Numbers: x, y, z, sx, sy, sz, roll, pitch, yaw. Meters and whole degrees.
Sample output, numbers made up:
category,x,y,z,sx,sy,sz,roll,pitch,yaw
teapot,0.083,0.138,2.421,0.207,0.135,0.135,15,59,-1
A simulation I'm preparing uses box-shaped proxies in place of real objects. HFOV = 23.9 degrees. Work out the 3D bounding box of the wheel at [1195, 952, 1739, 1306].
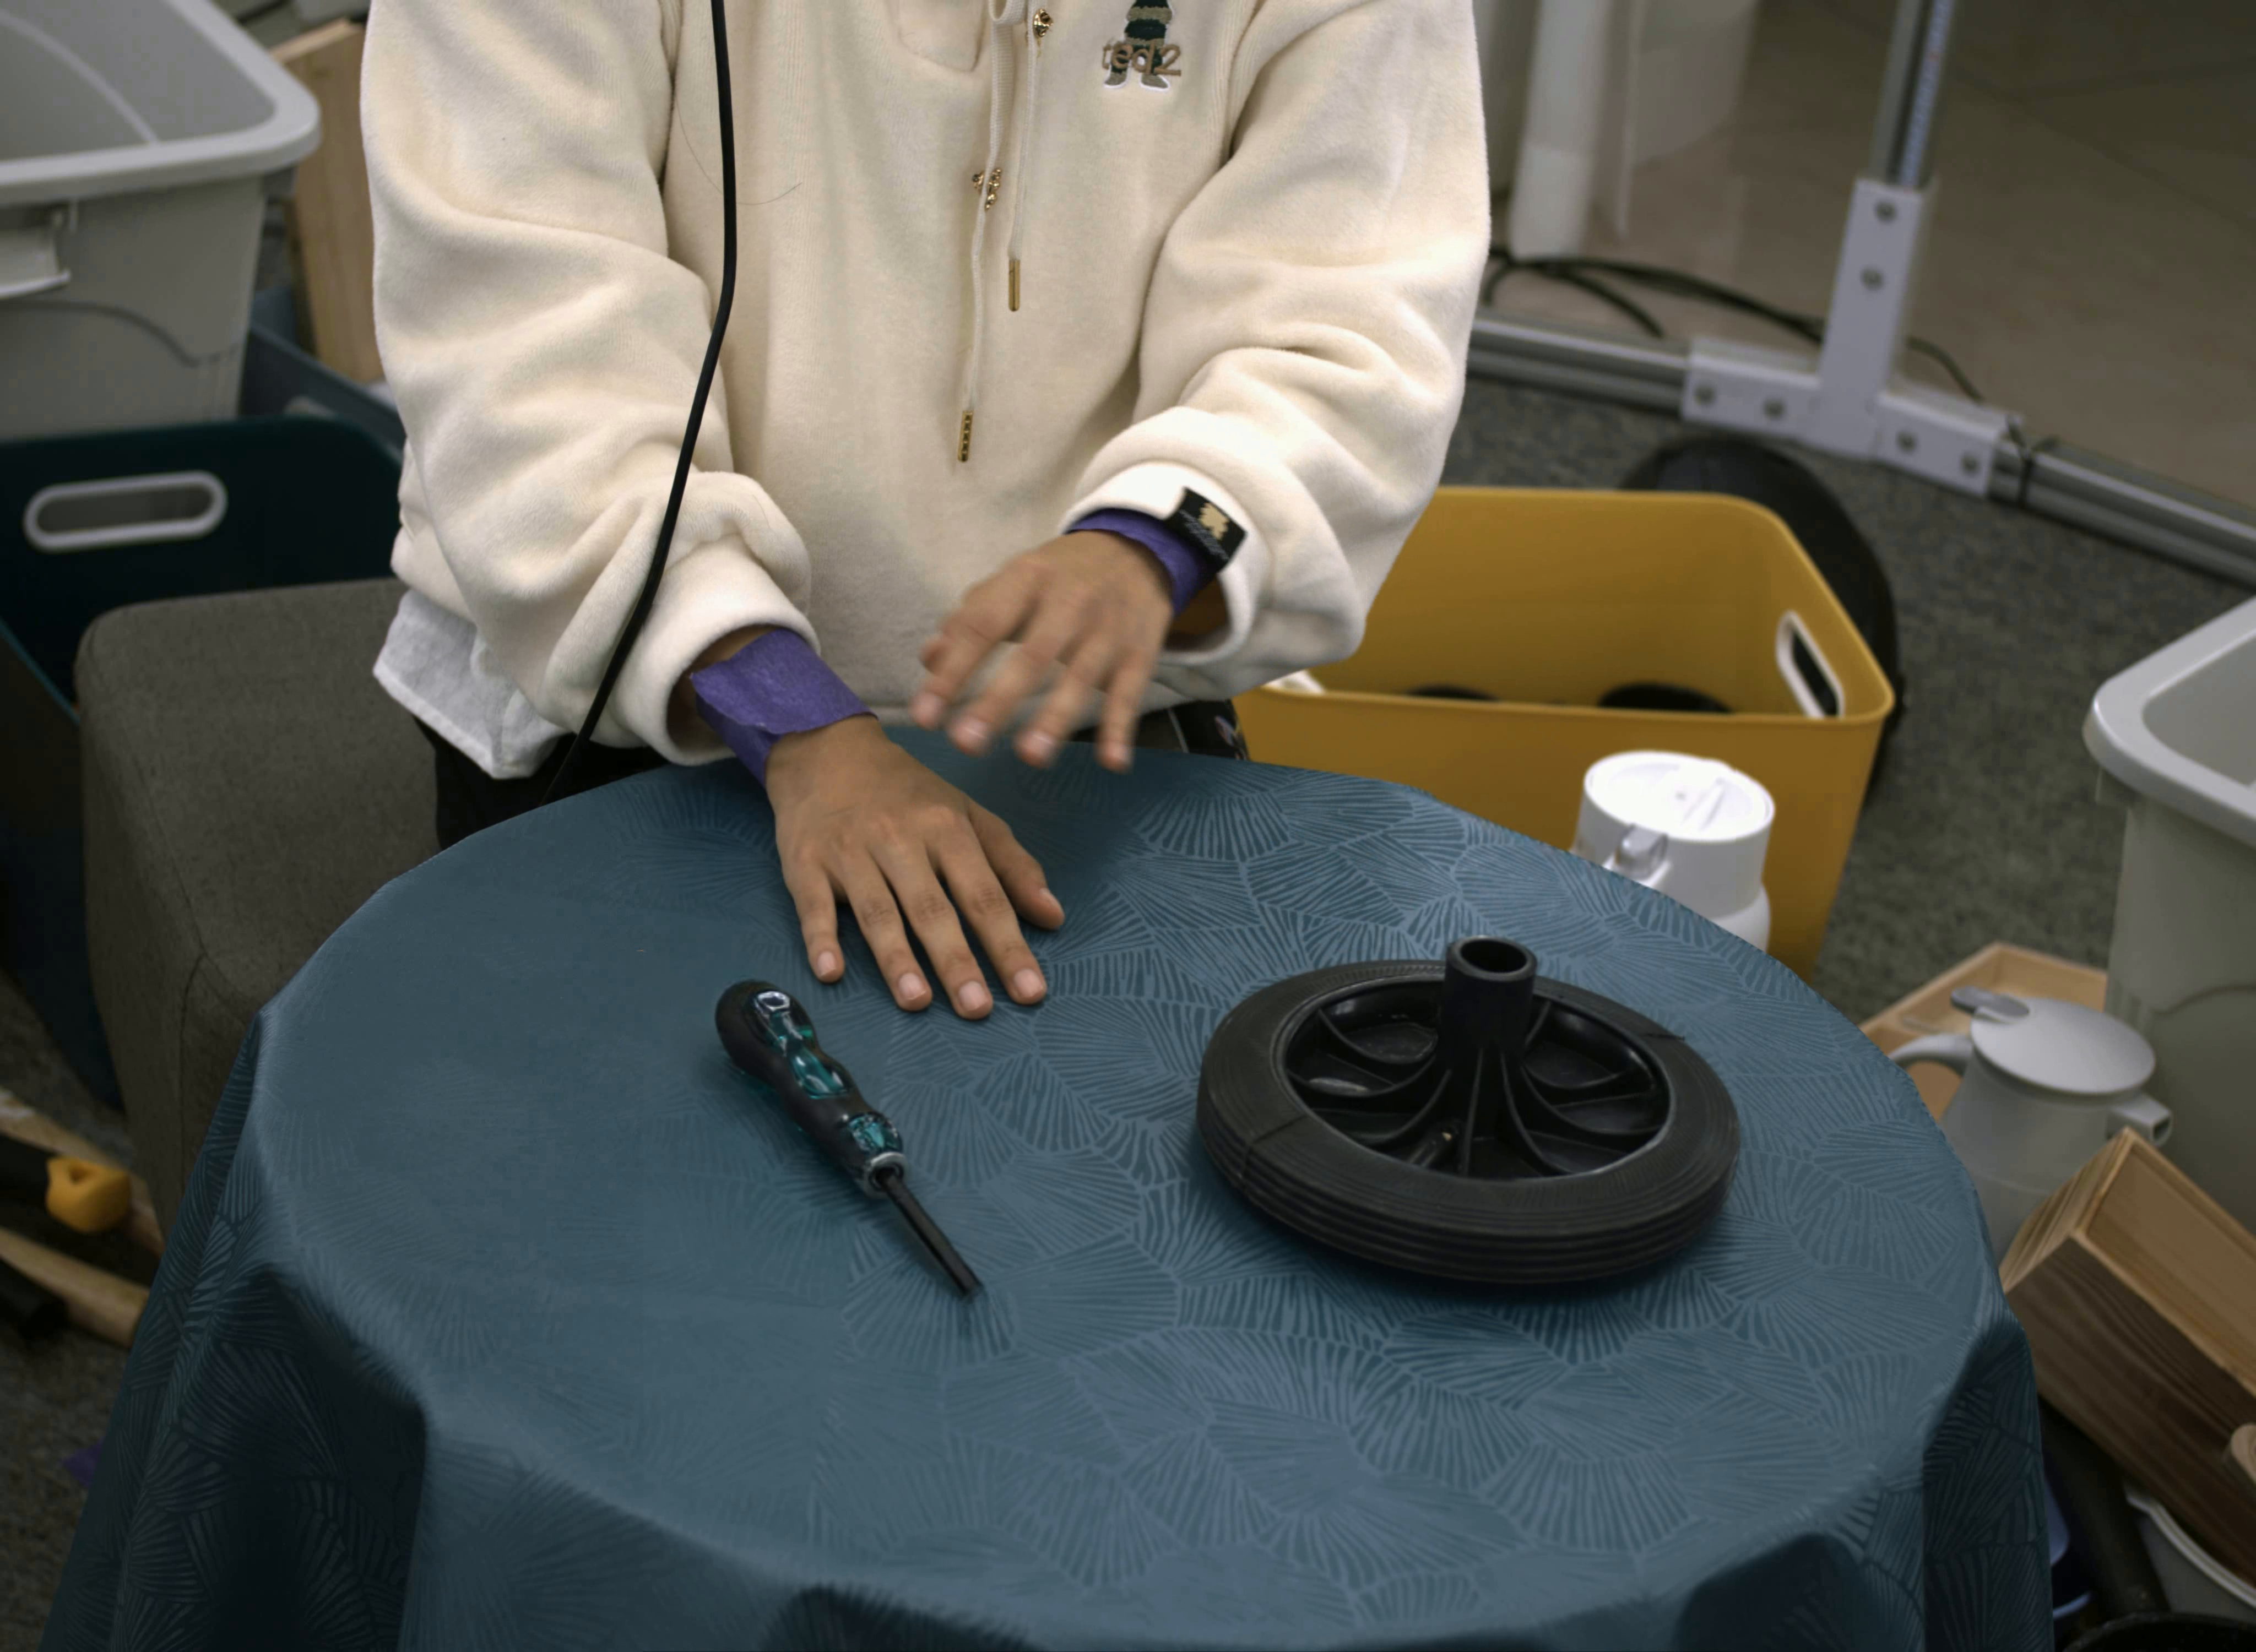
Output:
category,x,y,z,sx,sy,sz,roll,pitch,yaw
wheel,0.119,0.085,1.822,0.187,0.079,0.191,7,29,1

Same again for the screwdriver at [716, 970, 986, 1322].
category,x,y,z,sx,sy,sz,roll,pitch,yaw
screwdriver,-0.091,0.109,1.787,0.033,0.033,0.192,-8,36,-28
